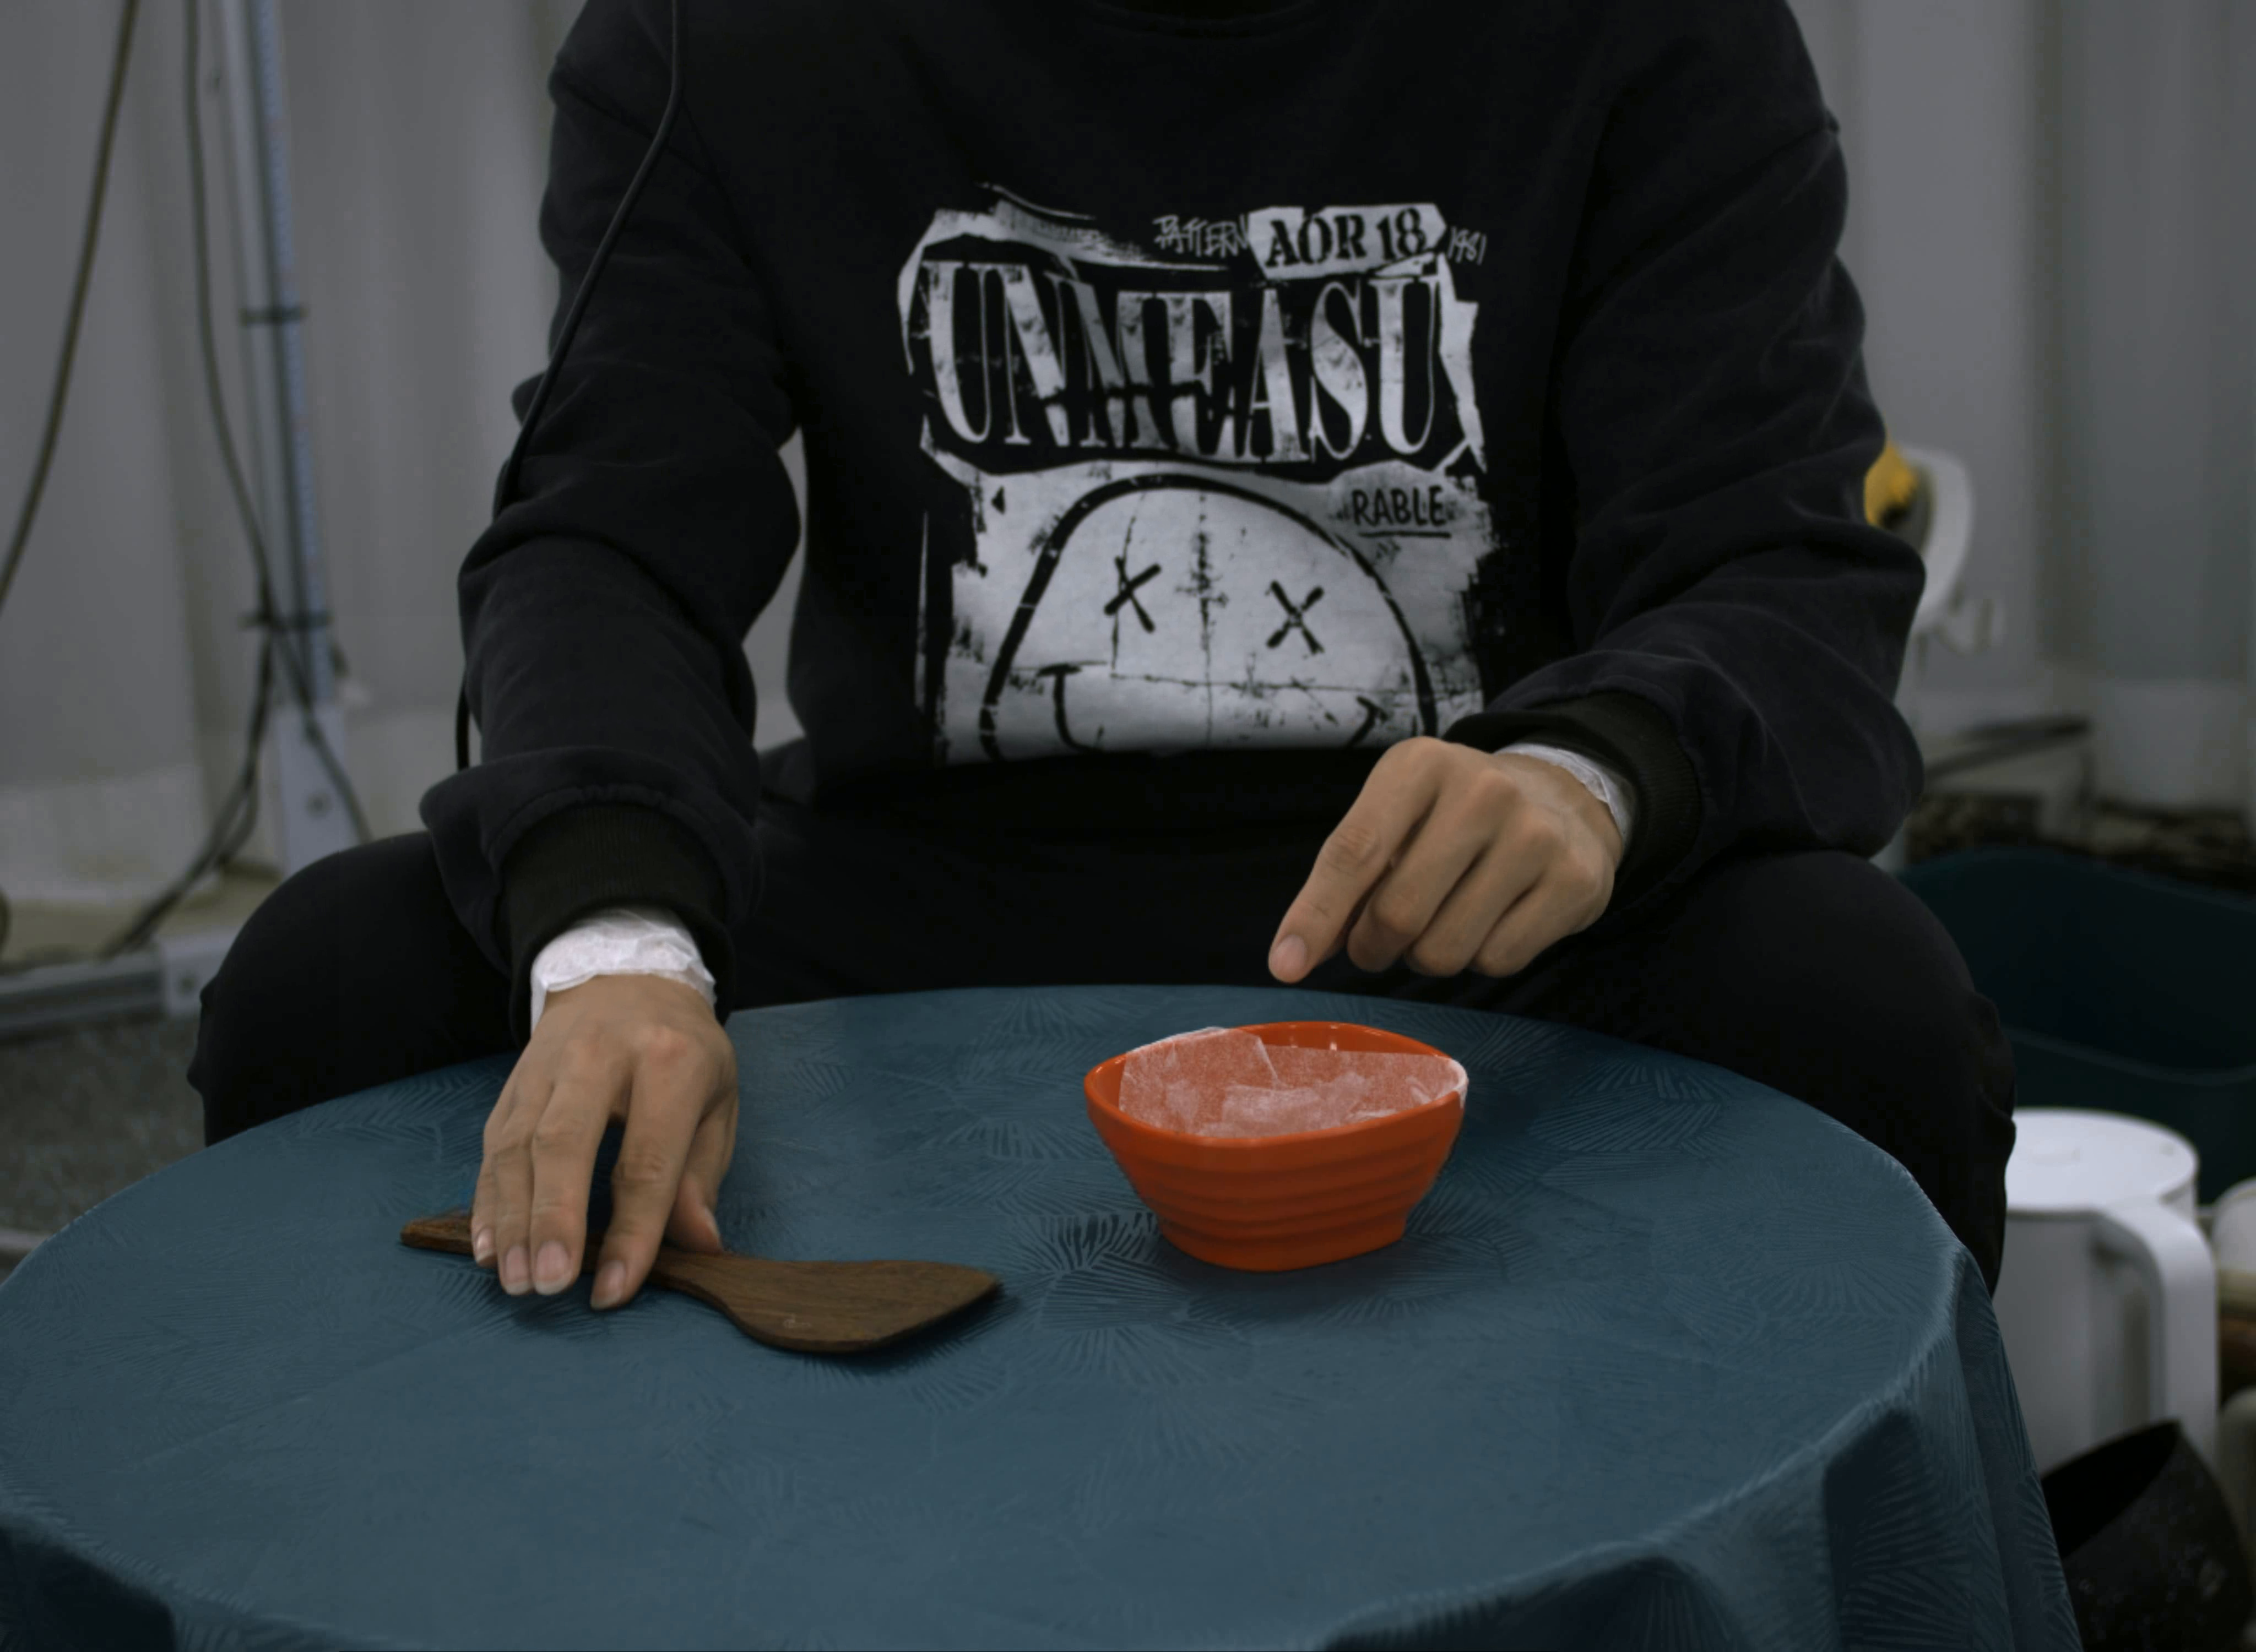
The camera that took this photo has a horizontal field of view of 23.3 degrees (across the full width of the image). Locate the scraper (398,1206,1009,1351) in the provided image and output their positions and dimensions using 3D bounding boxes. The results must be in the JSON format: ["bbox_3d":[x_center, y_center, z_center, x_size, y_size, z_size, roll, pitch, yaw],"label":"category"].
[{"bbox_3d":[-0.135,0.134,1.652,0.212,0.011,0.076,7,16,34],"label":"scraper"}]

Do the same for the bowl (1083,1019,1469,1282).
[{"bbox_3d":[0.046,0.101,1.663,0.118,0.051,0.120,-4,17,1],"label":"bowl"}]
